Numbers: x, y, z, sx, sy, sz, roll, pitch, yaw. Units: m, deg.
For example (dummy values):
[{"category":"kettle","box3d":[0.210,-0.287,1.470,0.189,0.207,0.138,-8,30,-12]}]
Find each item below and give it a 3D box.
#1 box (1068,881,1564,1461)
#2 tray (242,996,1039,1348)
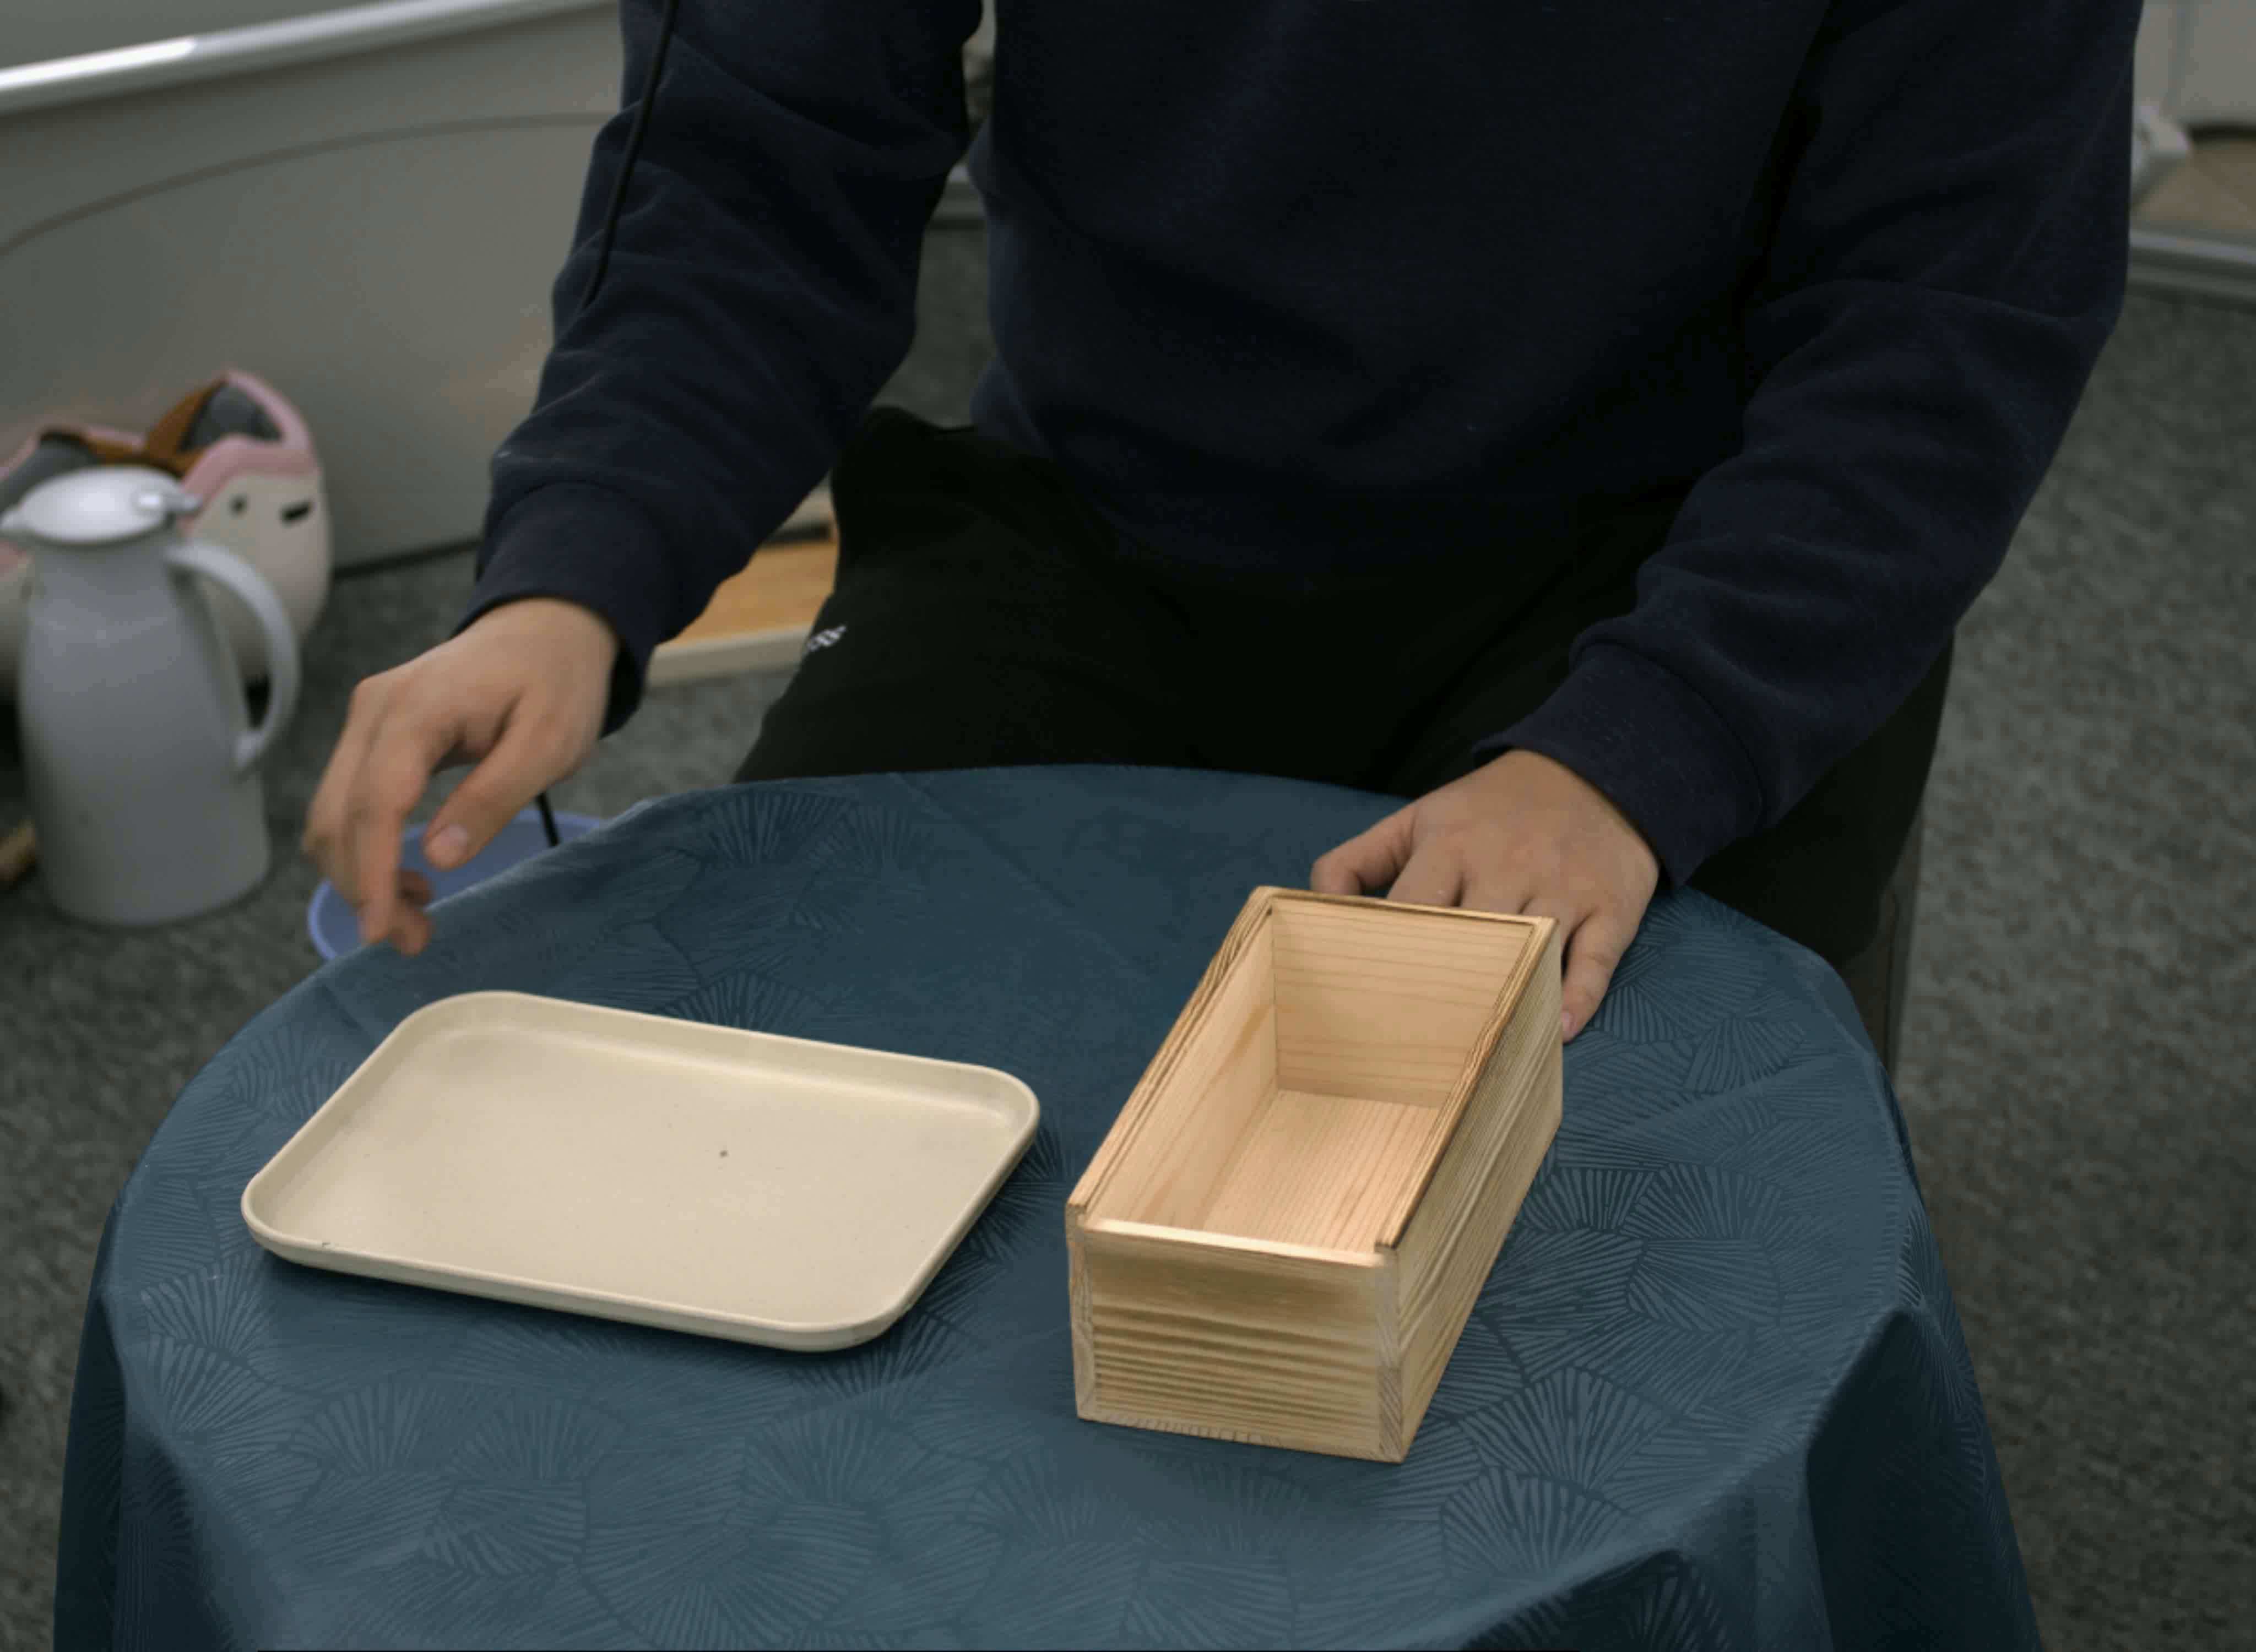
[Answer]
[{"category":"box","box3d":[0.064,0.107,1.802,0.107,0.079,0.215,6,28,16]},{"category":"tray","box3d":[-0.161,0.115,1.872,0.238,0.017,0.174,8,28,19]}]
